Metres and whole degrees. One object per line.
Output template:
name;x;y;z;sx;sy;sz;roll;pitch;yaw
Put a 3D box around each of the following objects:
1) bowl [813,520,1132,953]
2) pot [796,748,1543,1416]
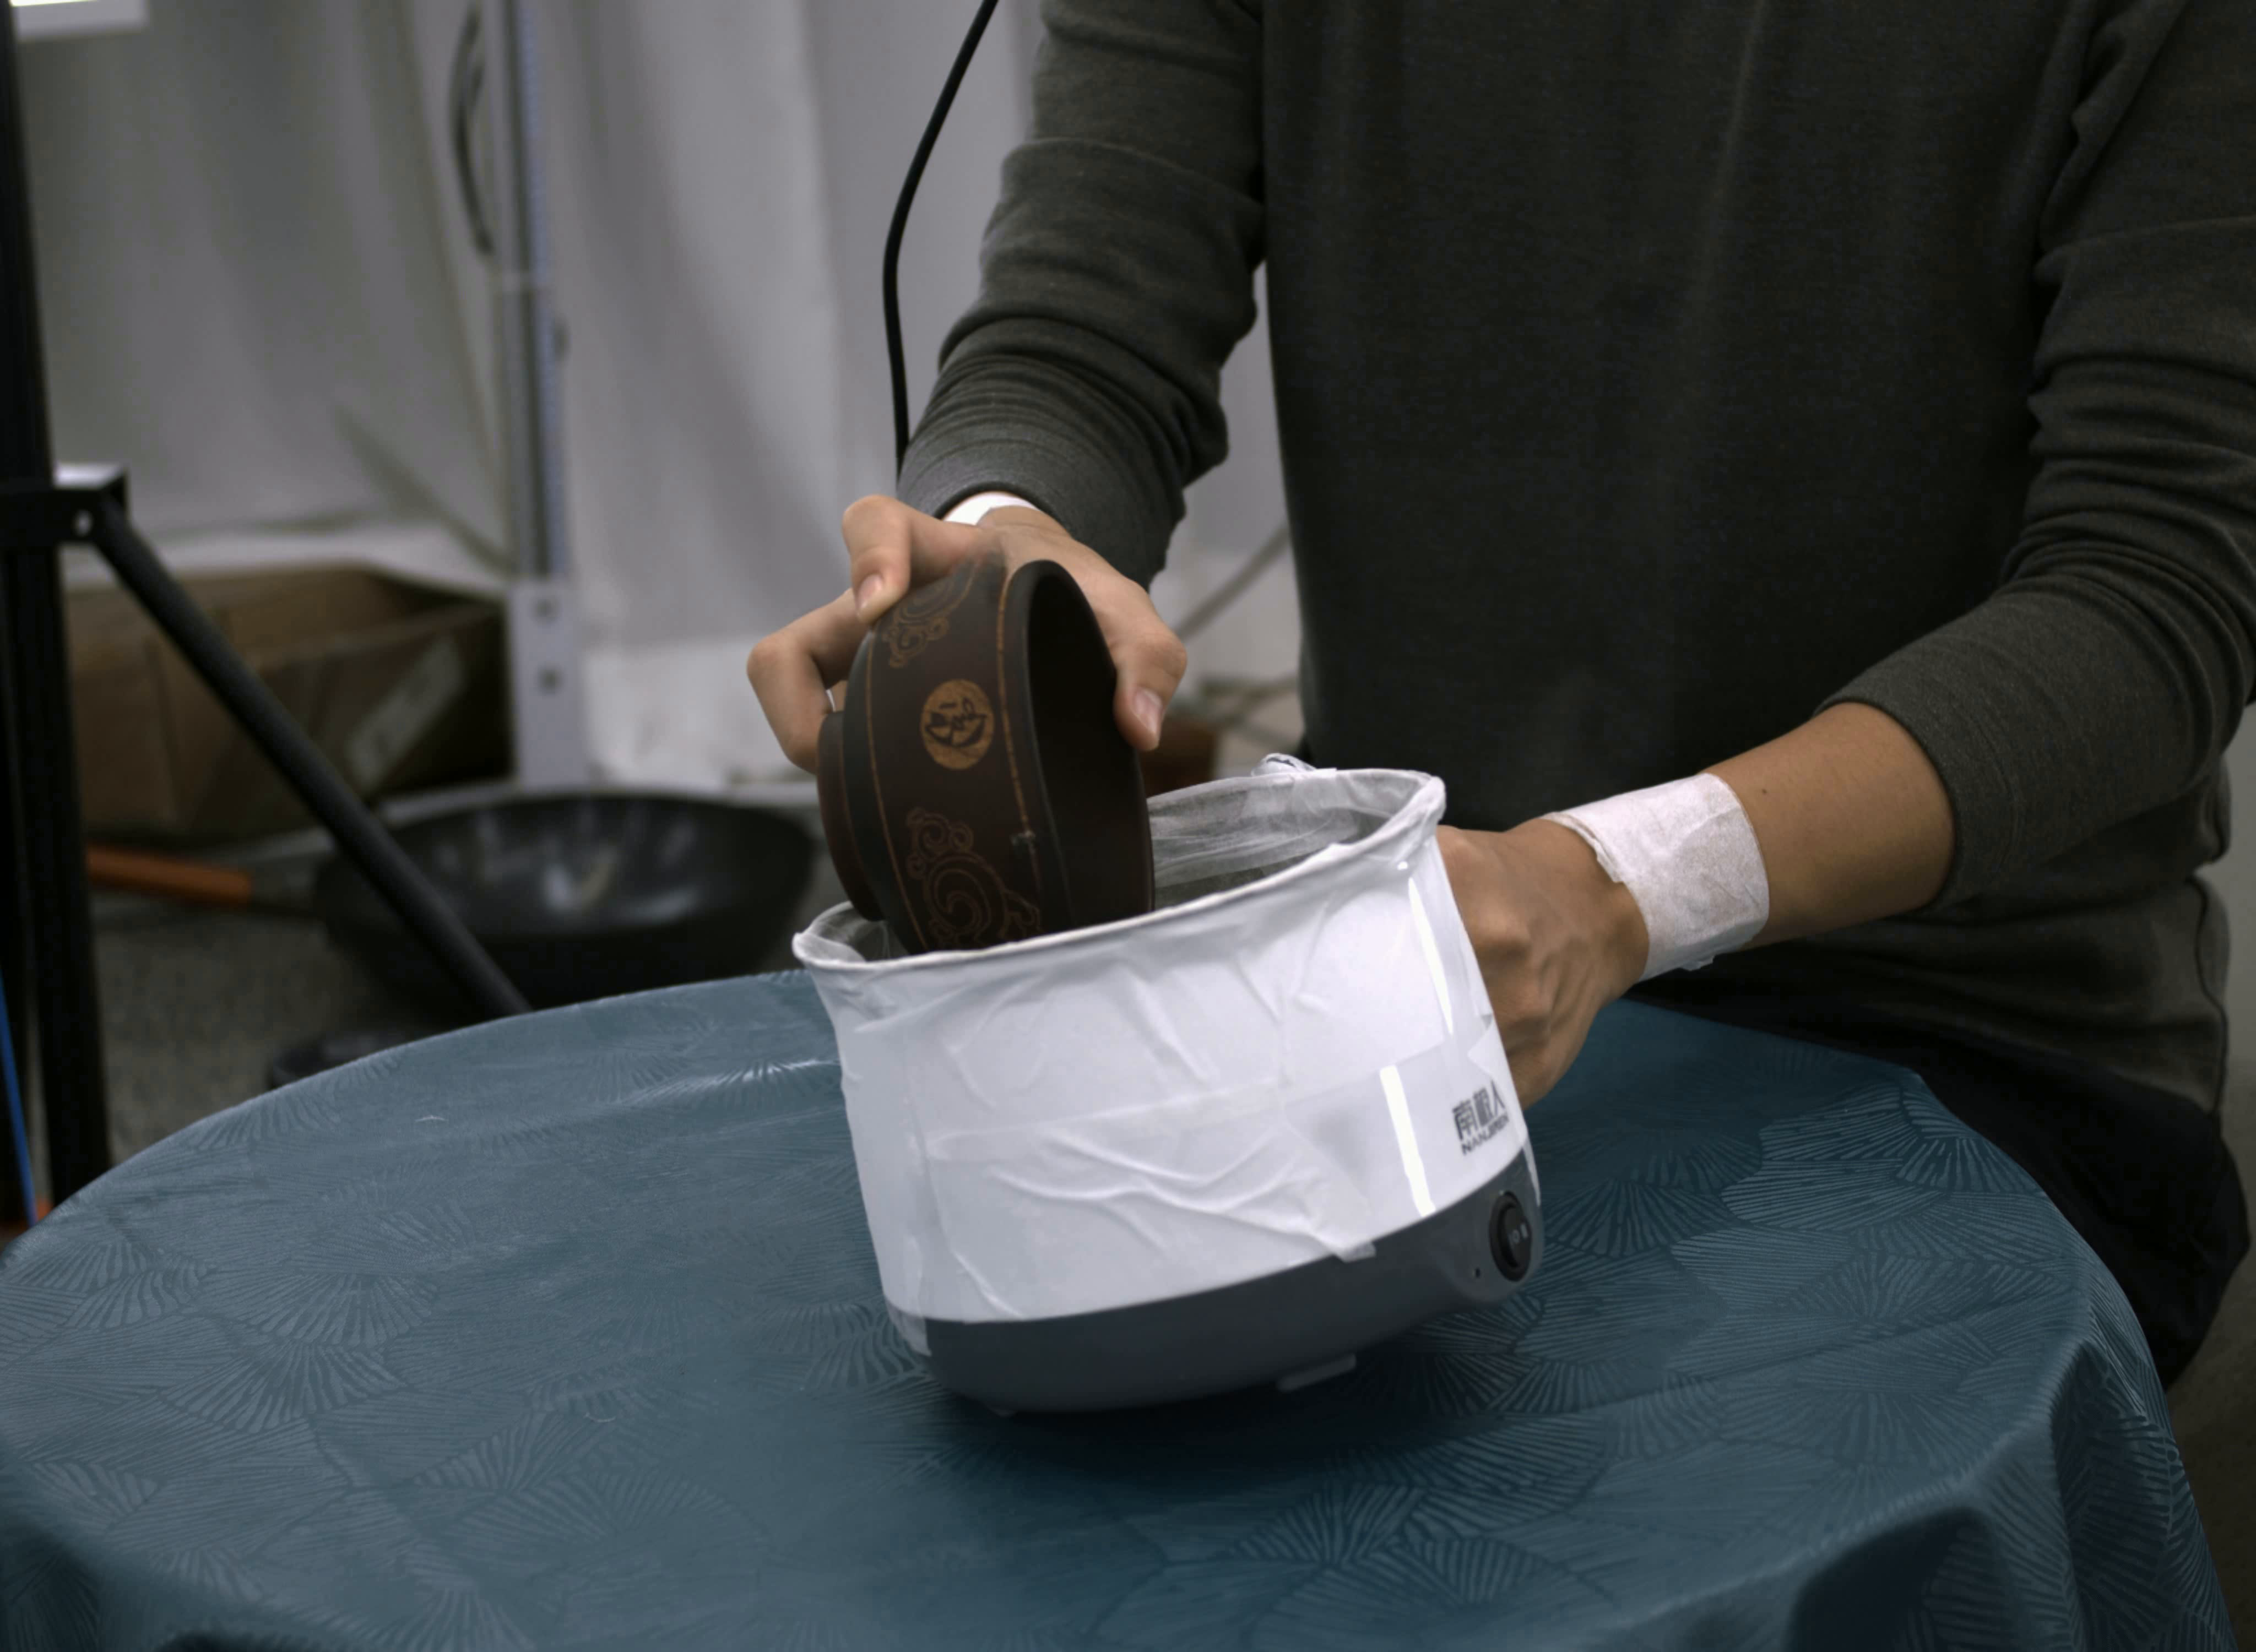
bowl;-0.045;-0.019;1.432;0.070;0.118;0.118;-11;15;7
pot;0.025;0.063;1.426;0.181;0.136;0.230;-9;11;29
